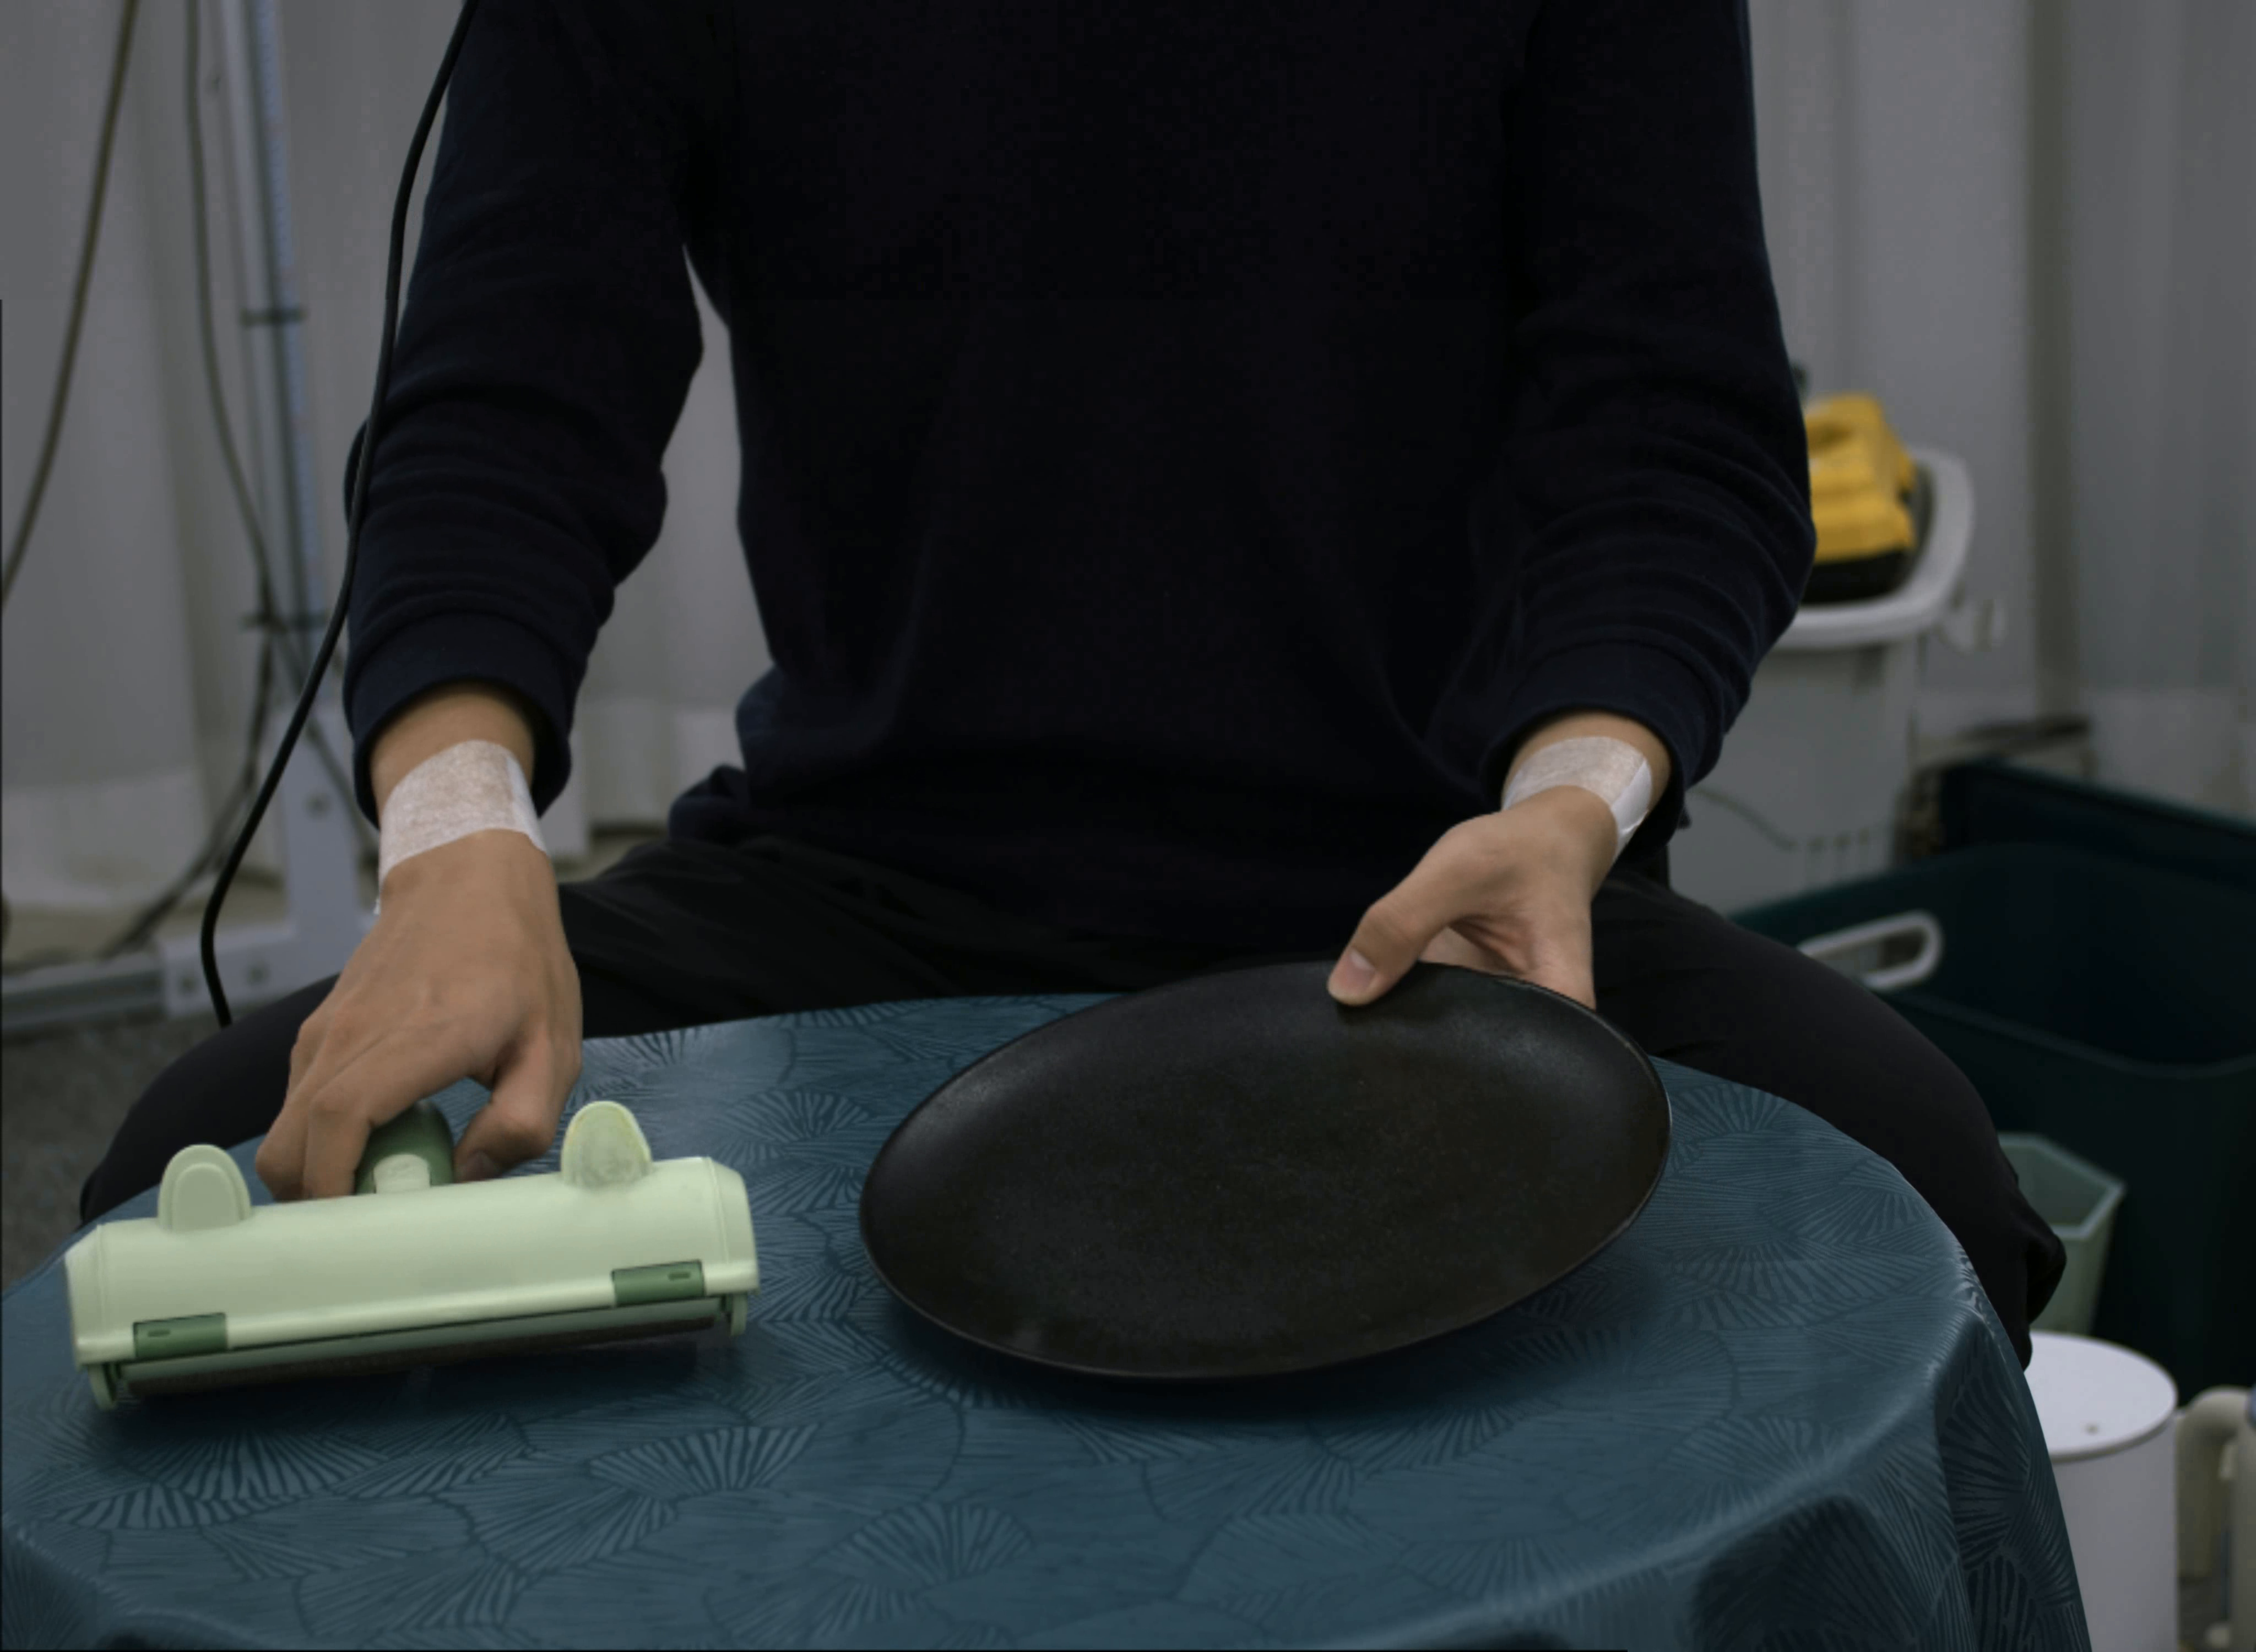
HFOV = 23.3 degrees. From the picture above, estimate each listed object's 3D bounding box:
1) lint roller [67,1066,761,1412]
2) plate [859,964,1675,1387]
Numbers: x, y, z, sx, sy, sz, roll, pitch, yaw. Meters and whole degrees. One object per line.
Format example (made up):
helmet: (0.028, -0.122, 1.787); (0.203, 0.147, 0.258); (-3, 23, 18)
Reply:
lint roller: (-0.217, 0.099, 1.625); (0.198, 0.081, 0.186); (-6, 29, -10)
plate: (0.042, 0.108, 1.621); (0.243, 0.023, 0.247); (-8, 25, 3)
